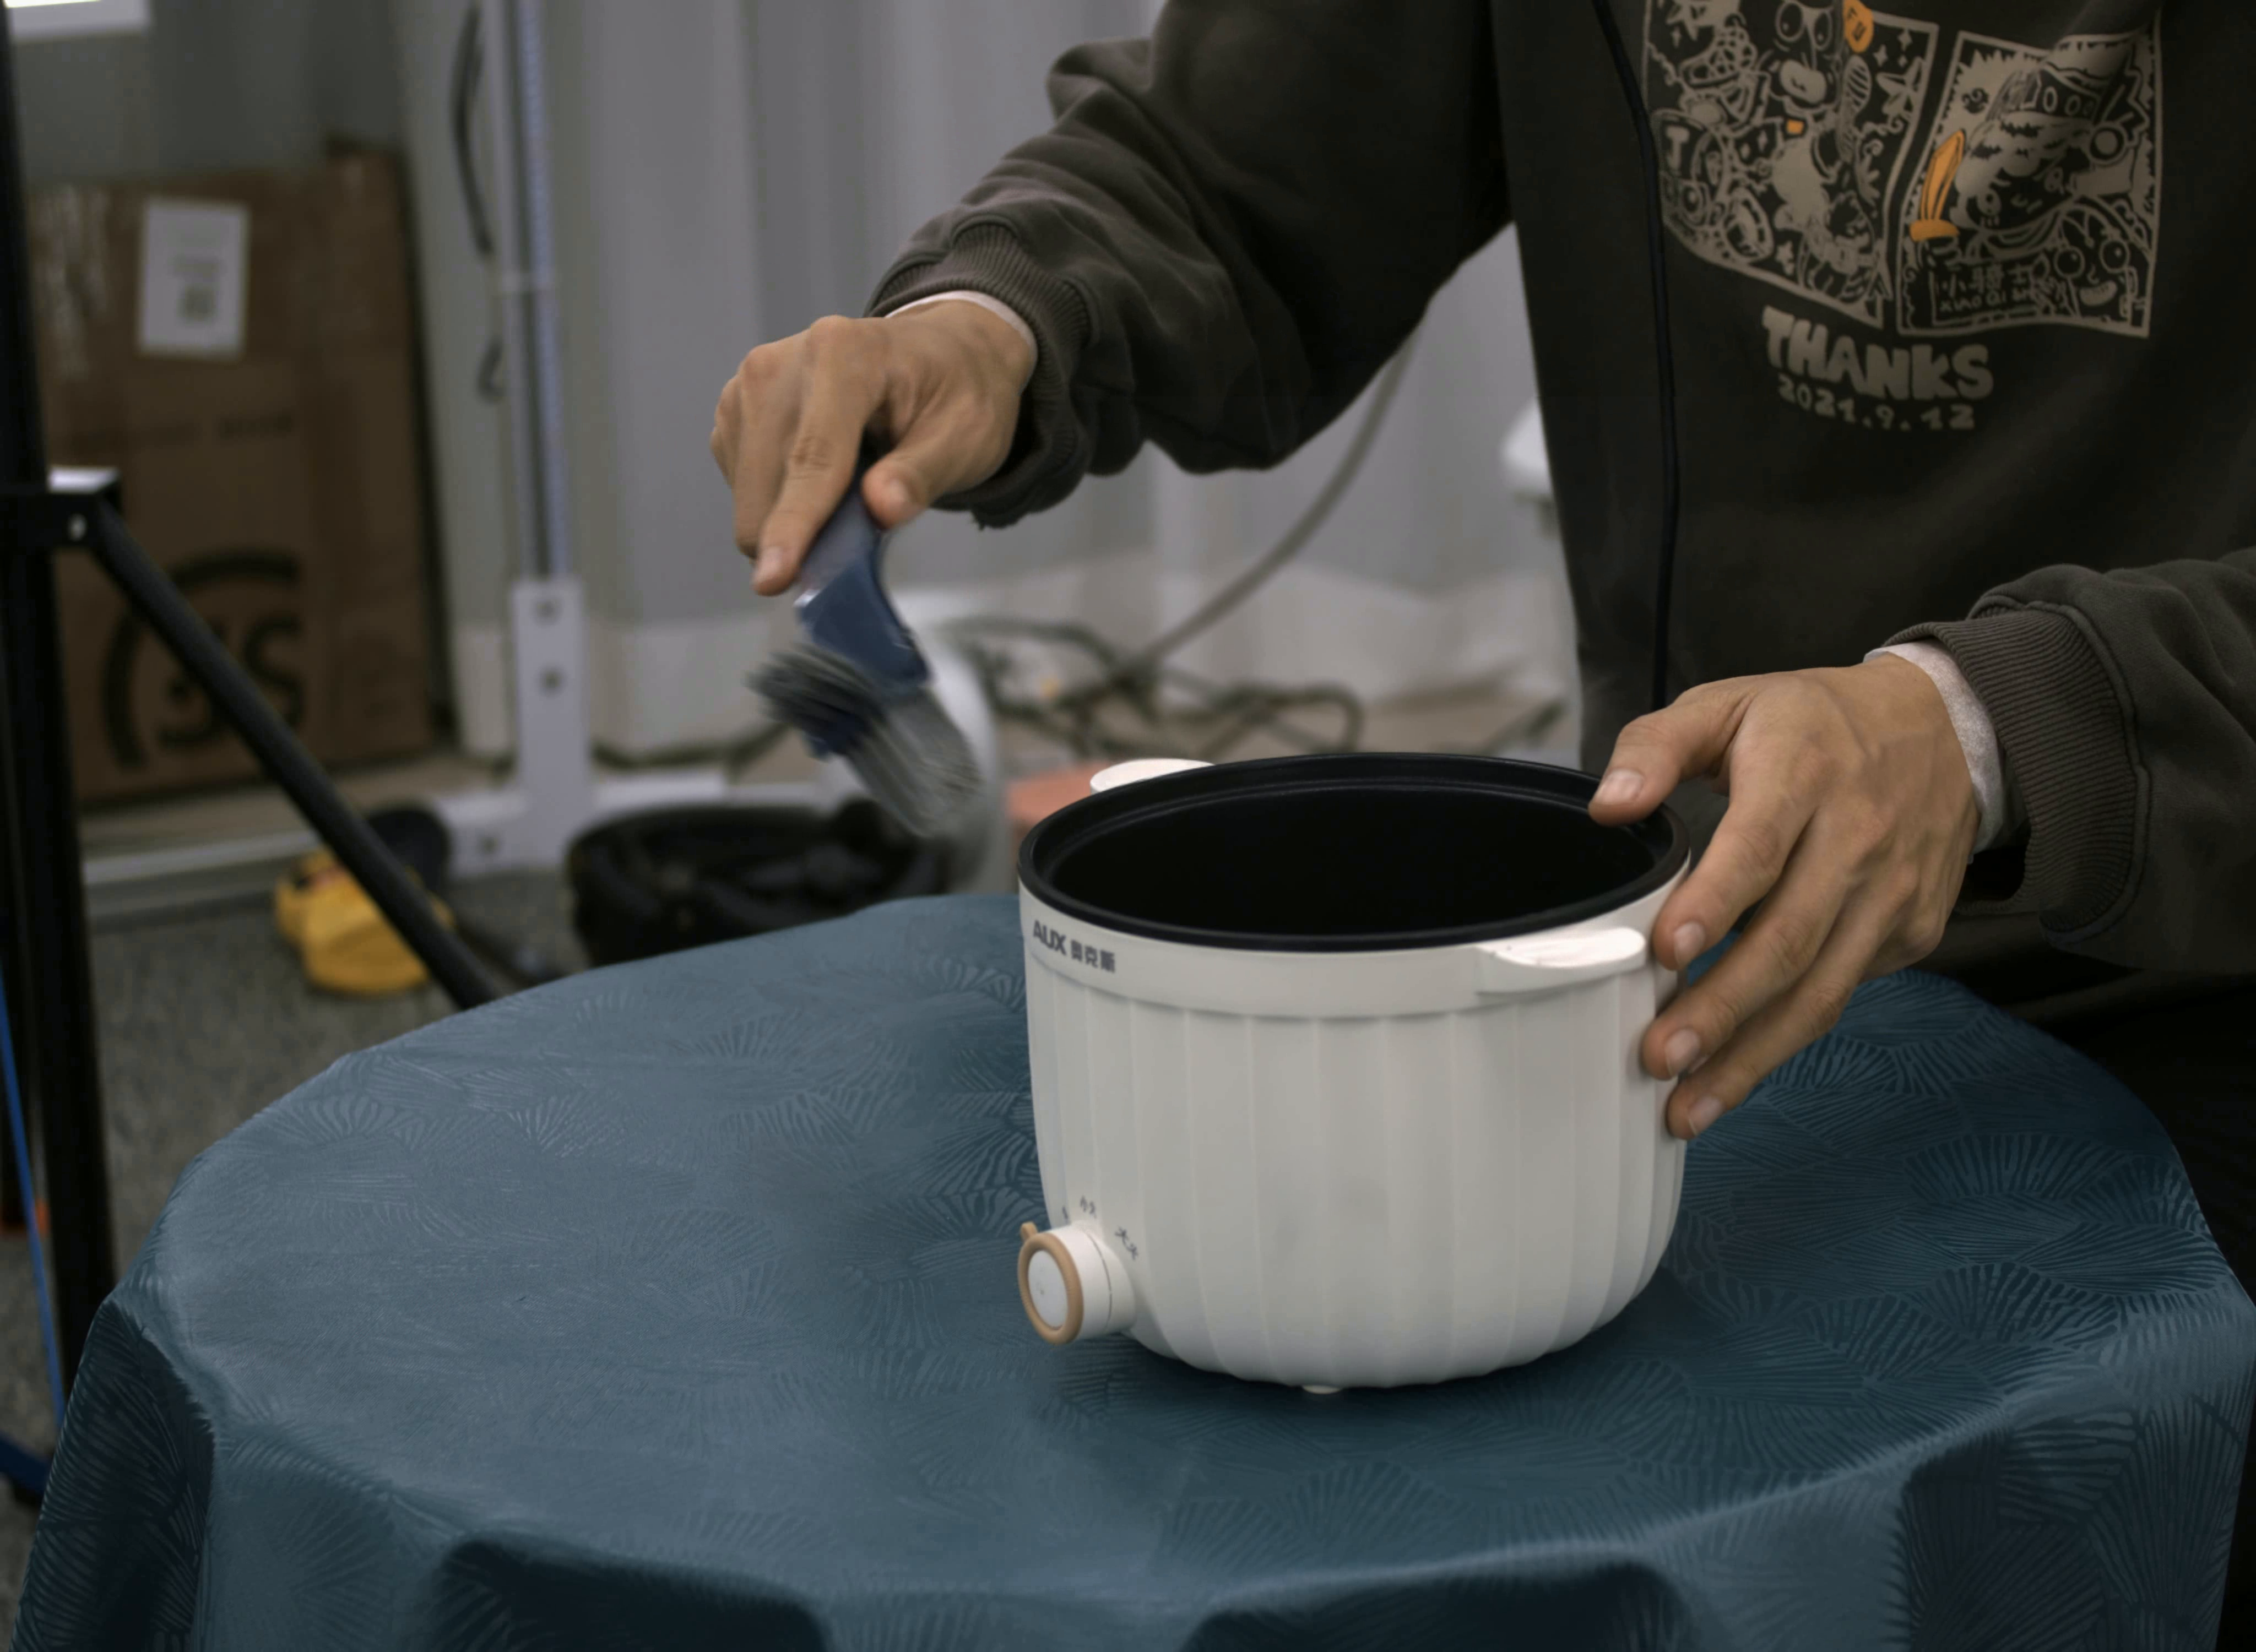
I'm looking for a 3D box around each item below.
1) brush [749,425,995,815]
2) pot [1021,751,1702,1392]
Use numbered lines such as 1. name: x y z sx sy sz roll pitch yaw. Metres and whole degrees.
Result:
1. brush: -0.080 -0.074 1.528 0.033 0.094 0.277 -42 25 10
2. pot: 0.059 0.068 1.437 0.186 0.143 0.245 -8 15 -30
